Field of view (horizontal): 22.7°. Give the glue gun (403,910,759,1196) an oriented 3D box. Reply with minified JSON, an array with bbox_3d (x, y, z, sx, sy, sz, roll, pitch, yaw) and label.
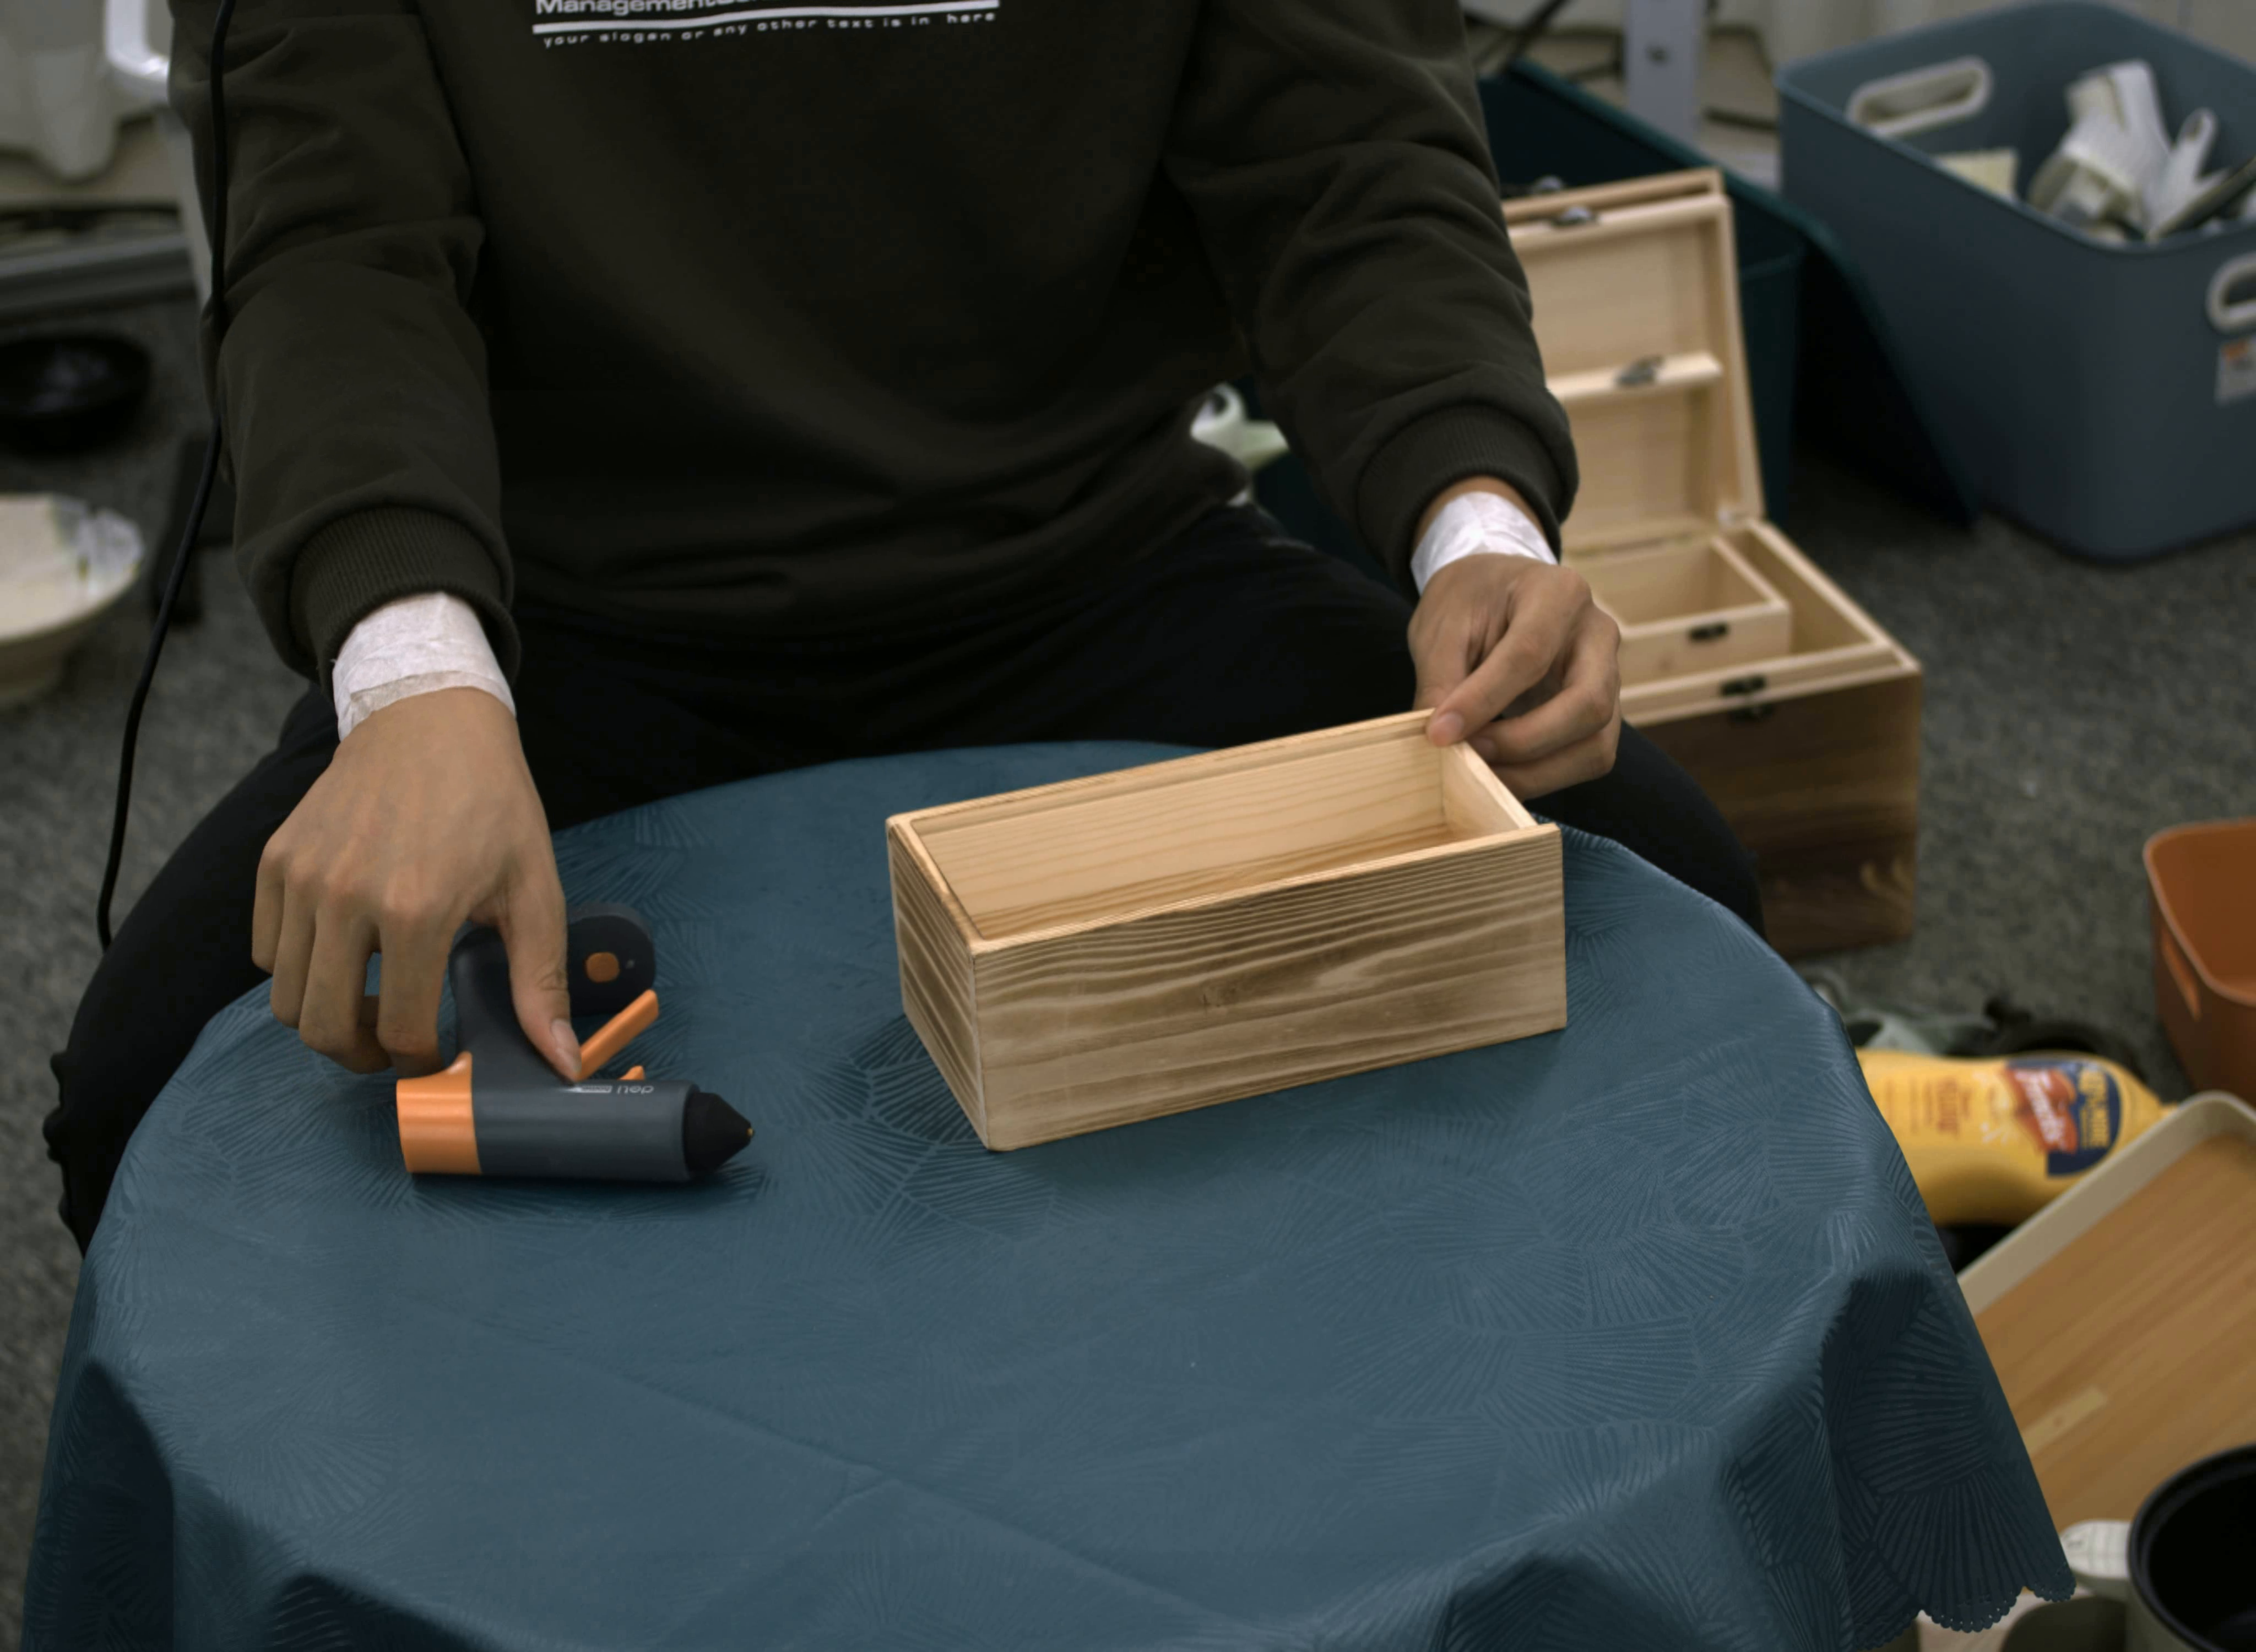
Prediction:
[{"bbox_3d":[-0.190,0.083,1.926,0.117,0.040,0.142,-2,30,-8],"label":"glue gun"}]

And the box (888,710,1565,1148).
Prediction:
[{"bbox_3d":[0.034,0.034,1.947,0.212,0.079,0.108,-11,27,-16],"label":"box"}]
